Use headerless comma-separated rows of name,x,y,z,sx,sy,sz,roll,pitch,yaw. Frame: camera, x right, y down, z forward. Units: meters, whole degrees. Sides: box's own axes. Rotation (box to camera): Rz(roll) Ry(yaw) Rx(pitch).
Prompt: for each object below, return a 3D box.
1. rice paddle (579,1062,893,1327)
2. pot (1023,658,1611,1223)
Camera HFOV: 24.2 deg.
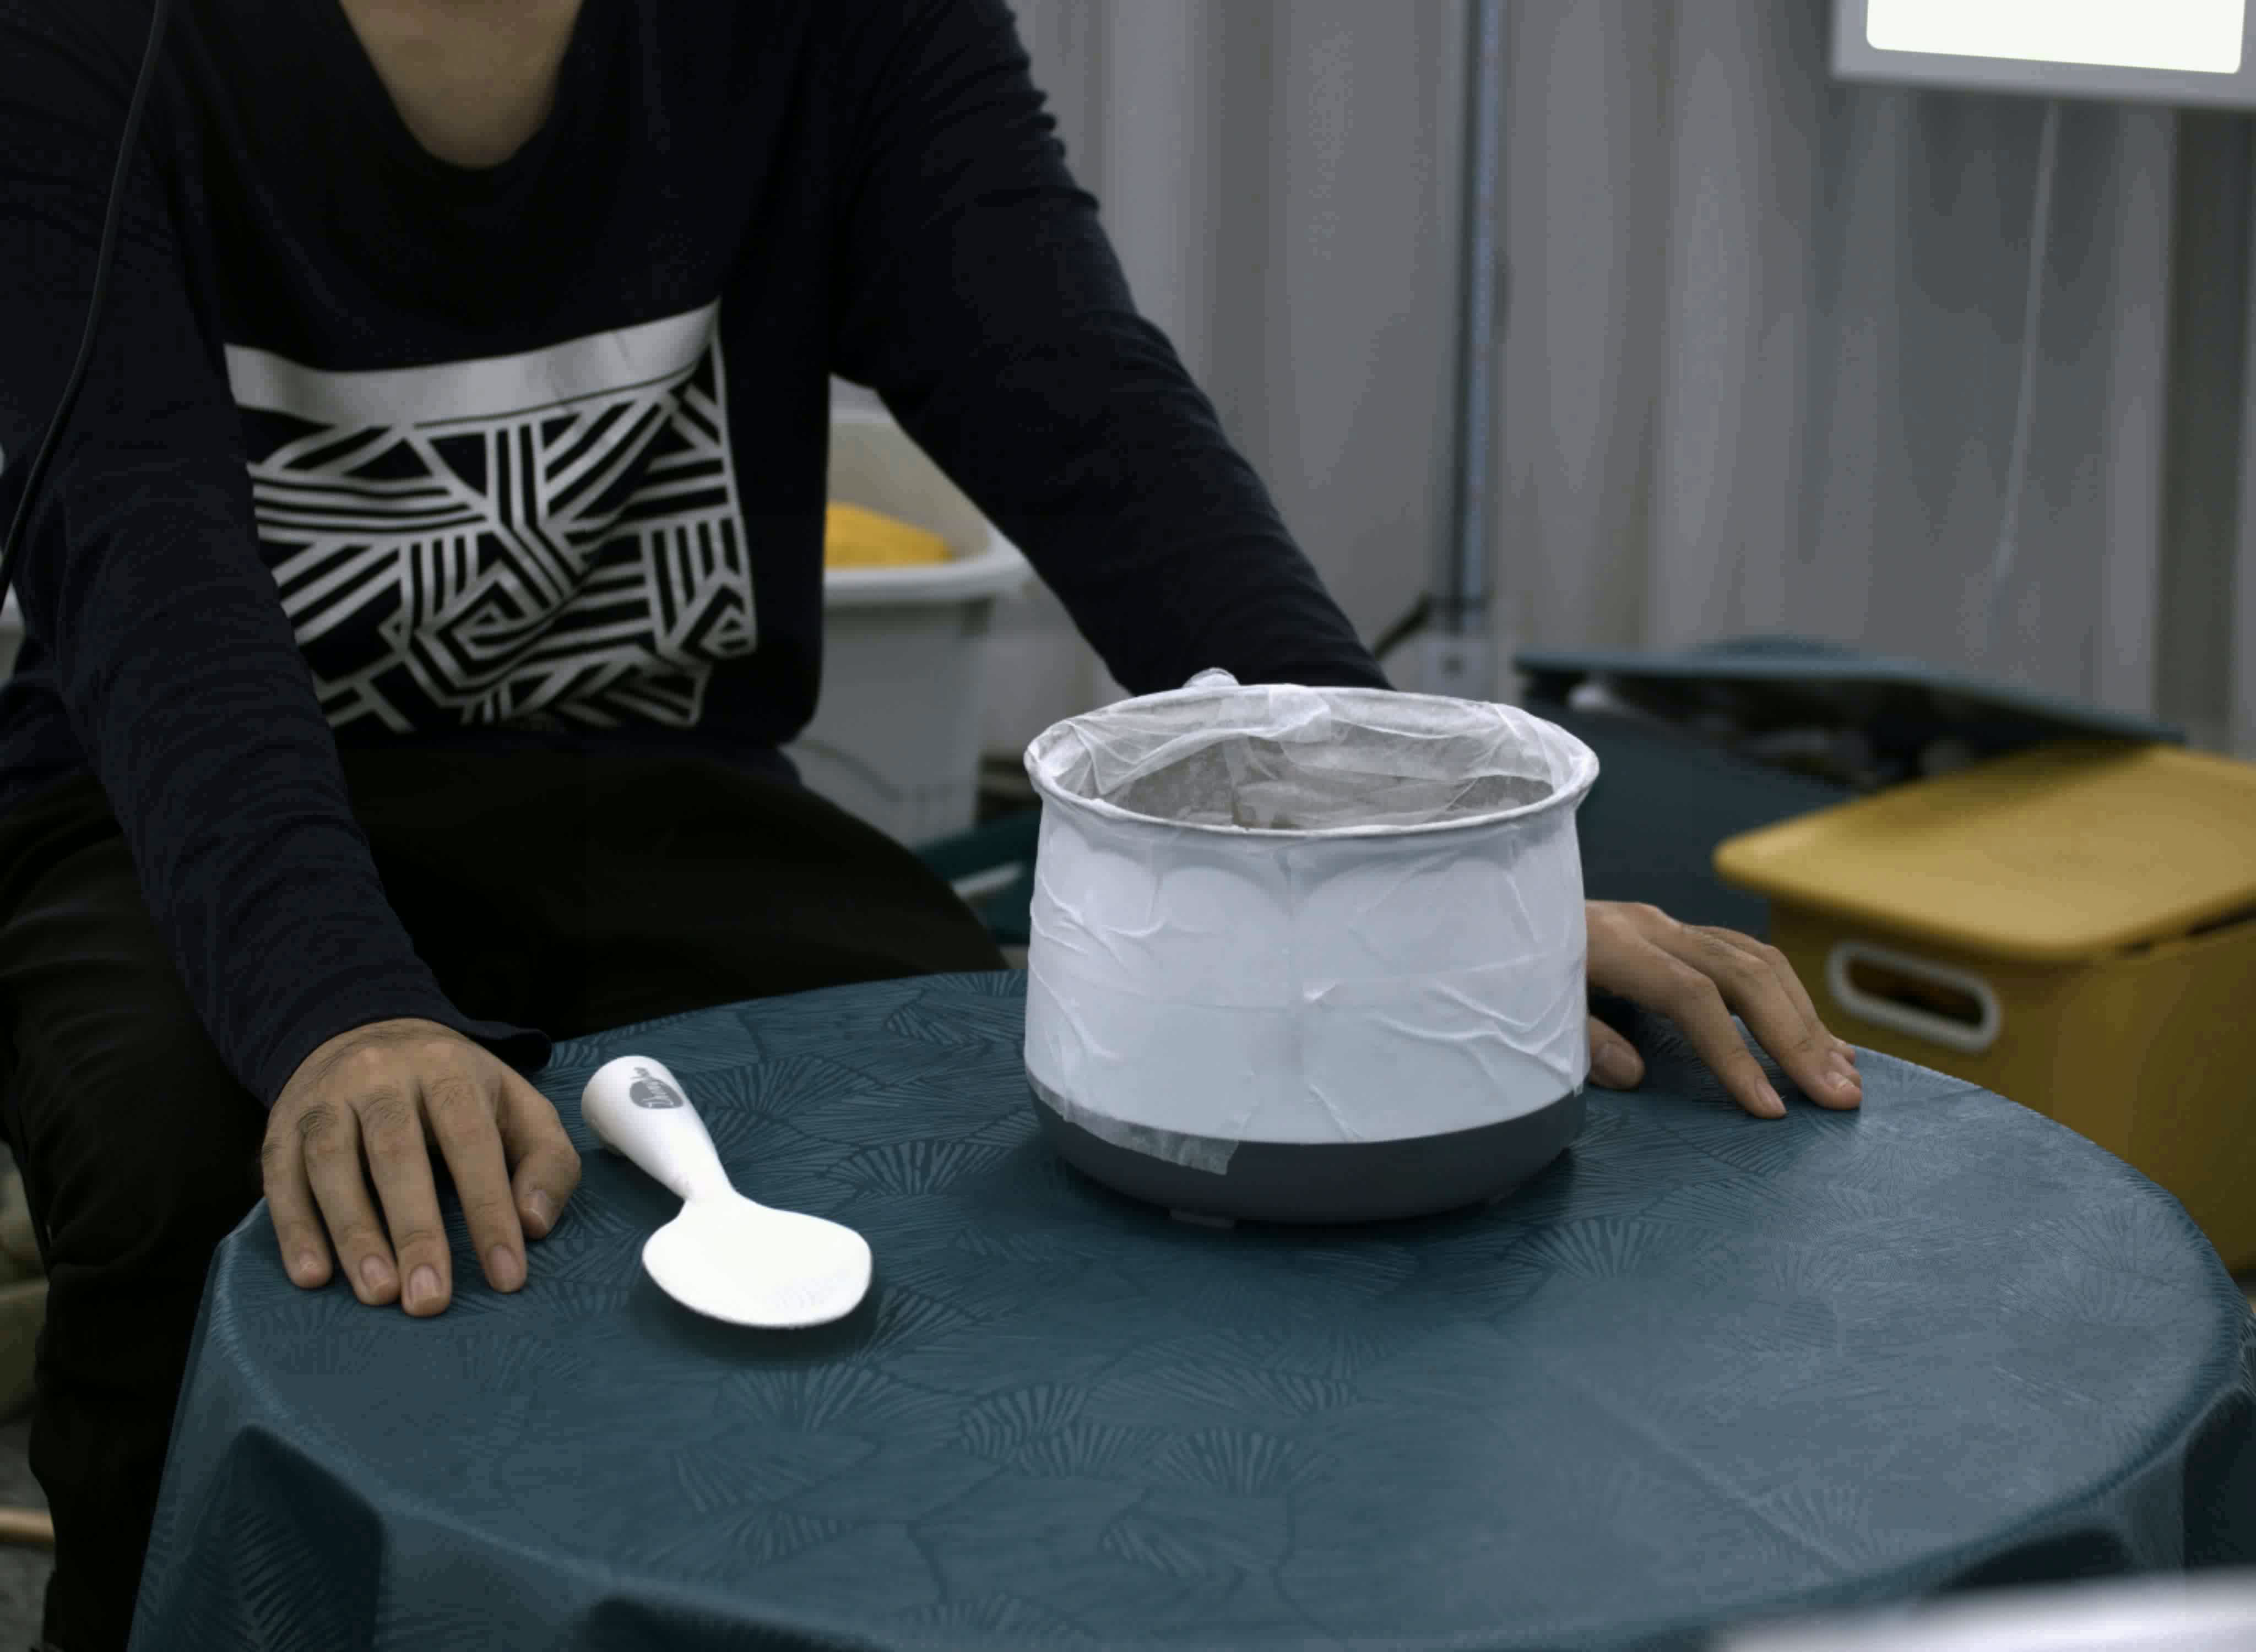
rice paddle,-0.123,0.112,1.570,0.069,0.029,0.203,-7,16,-19
pot,0.048,0.031,1.659,0.179,0.137,0.231,-2,17,-19
